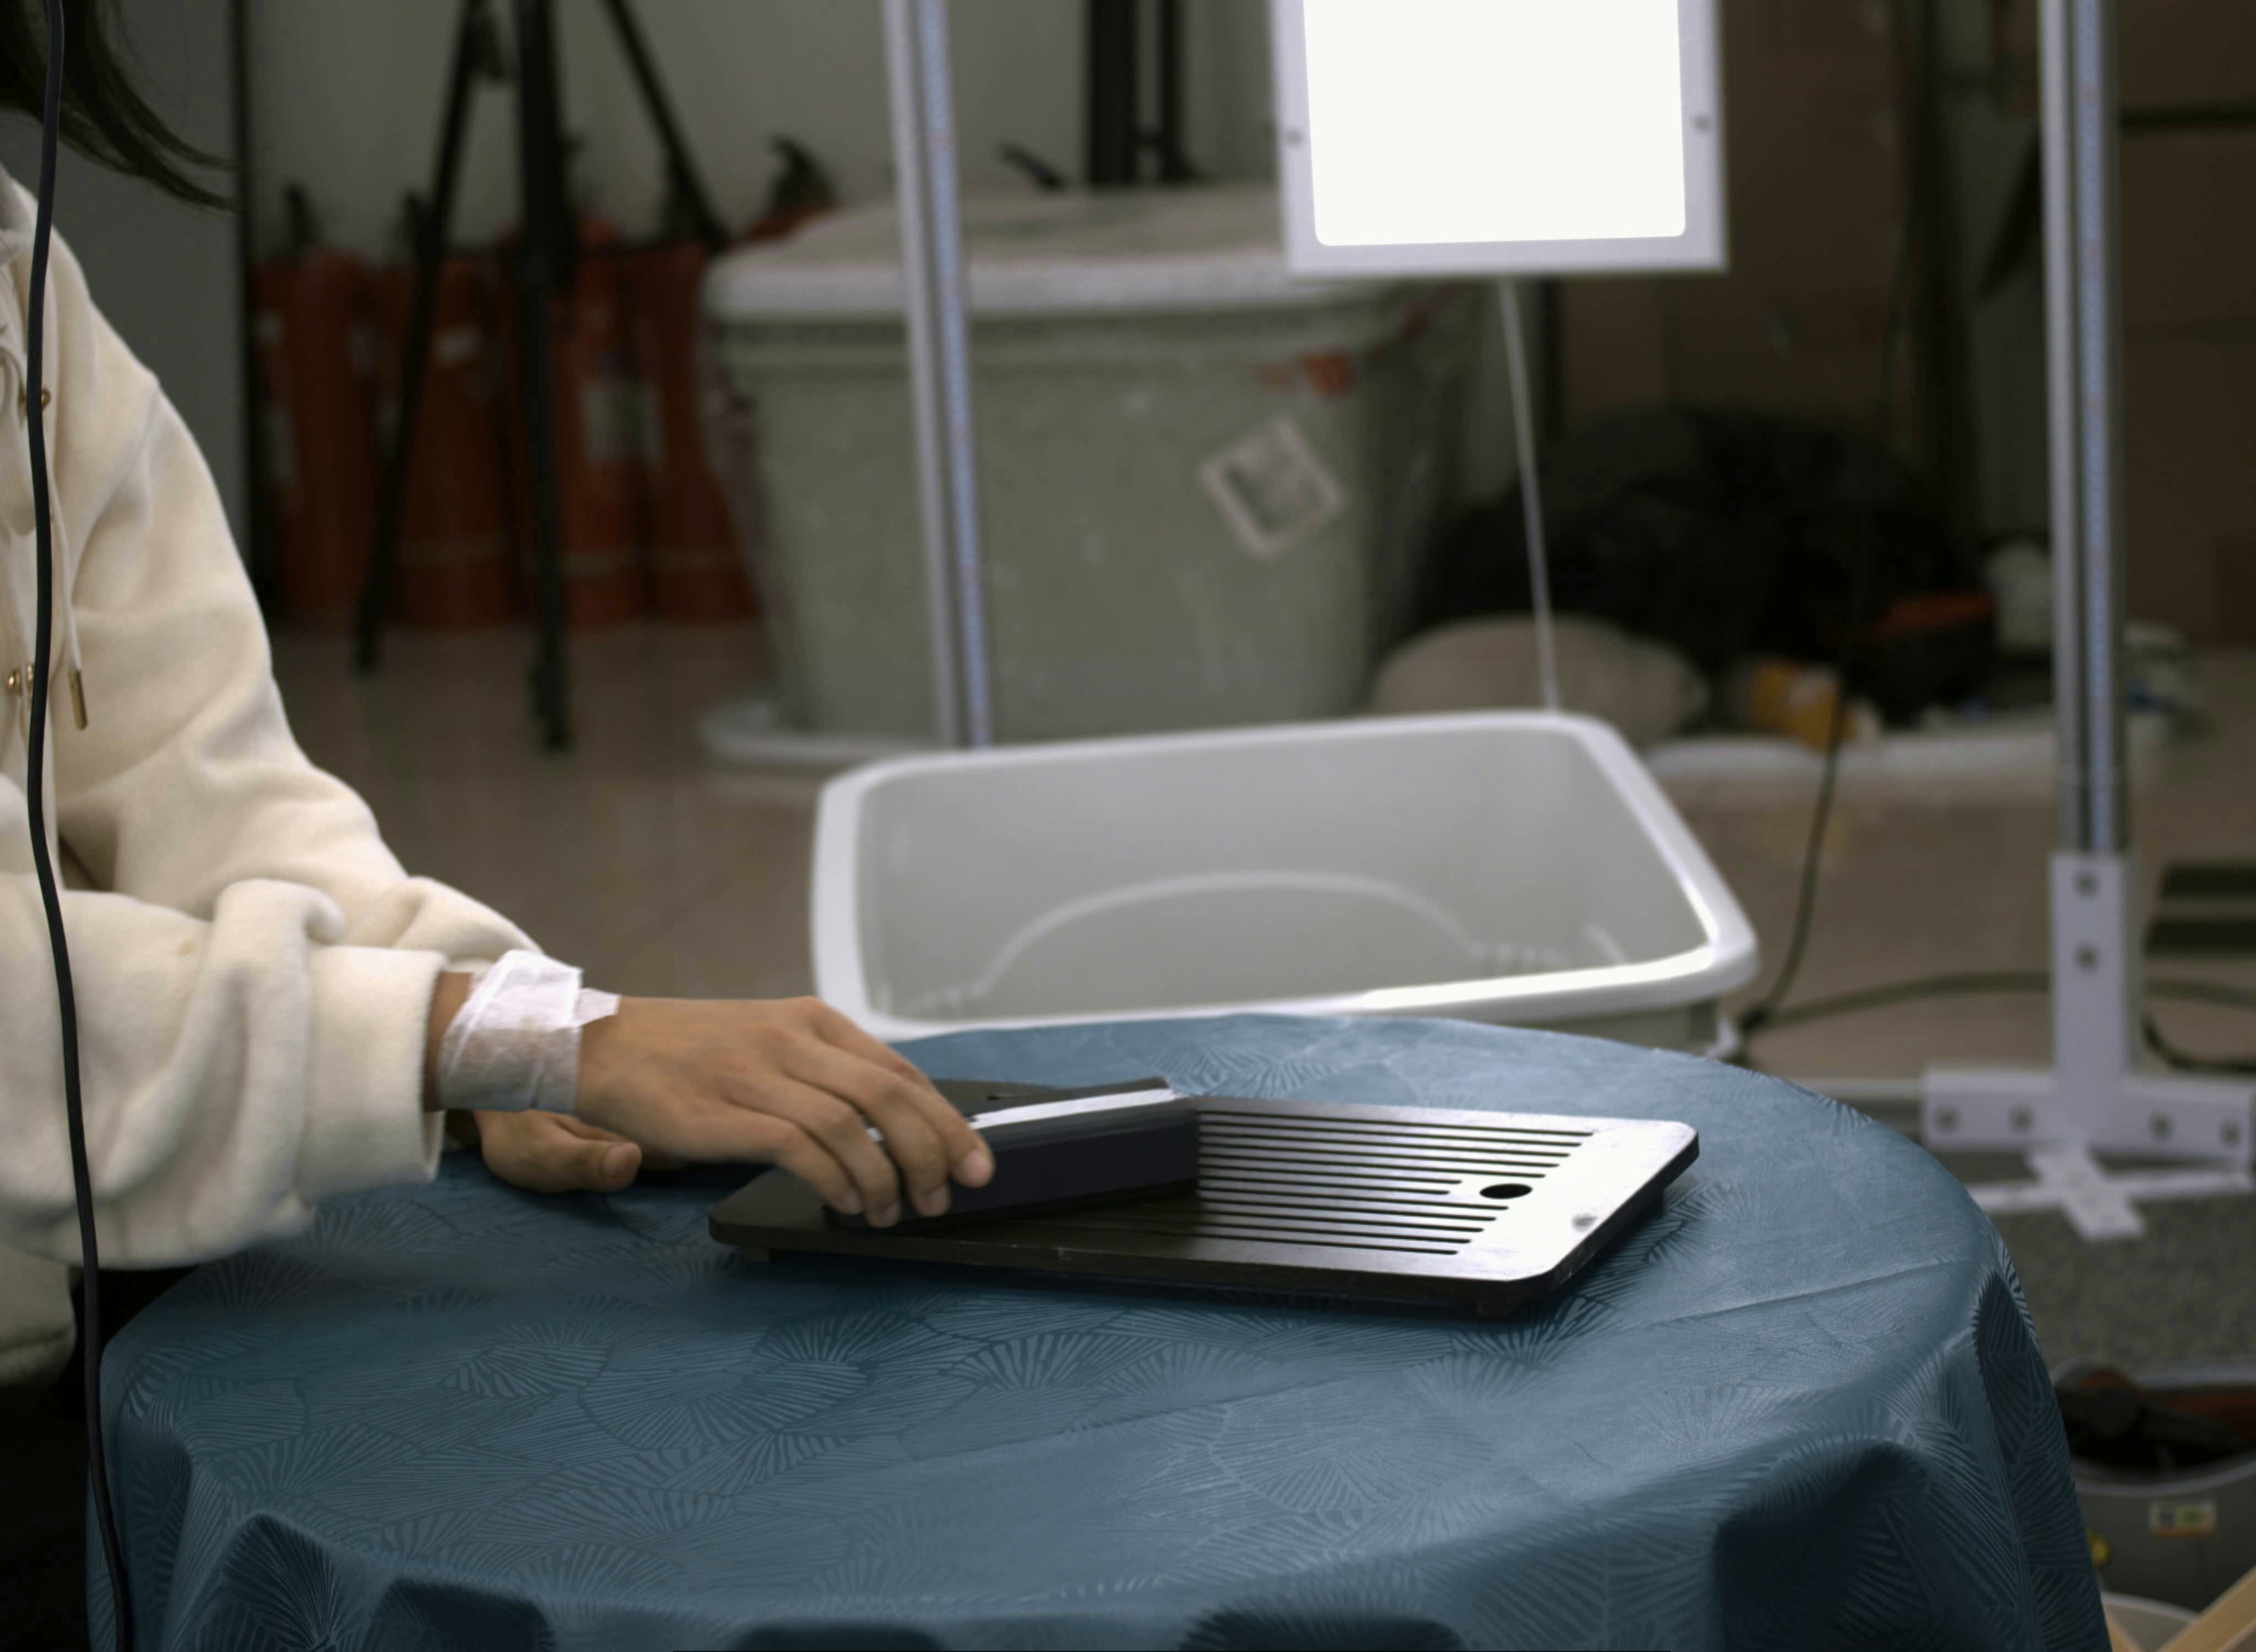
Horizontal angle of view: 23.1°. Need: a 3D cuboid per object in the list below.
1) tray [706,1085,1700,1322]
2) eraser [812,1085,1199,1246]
[{"bbox_3d":[0.026,0.125,1.856,0.311,0.019,0.166,2,15,27],"label":"tray"},{"bbox_3d":[-0.040,0.113,1.845,0.124,0.030,0.054,-9,10,-9],"label":"eraser"}]
